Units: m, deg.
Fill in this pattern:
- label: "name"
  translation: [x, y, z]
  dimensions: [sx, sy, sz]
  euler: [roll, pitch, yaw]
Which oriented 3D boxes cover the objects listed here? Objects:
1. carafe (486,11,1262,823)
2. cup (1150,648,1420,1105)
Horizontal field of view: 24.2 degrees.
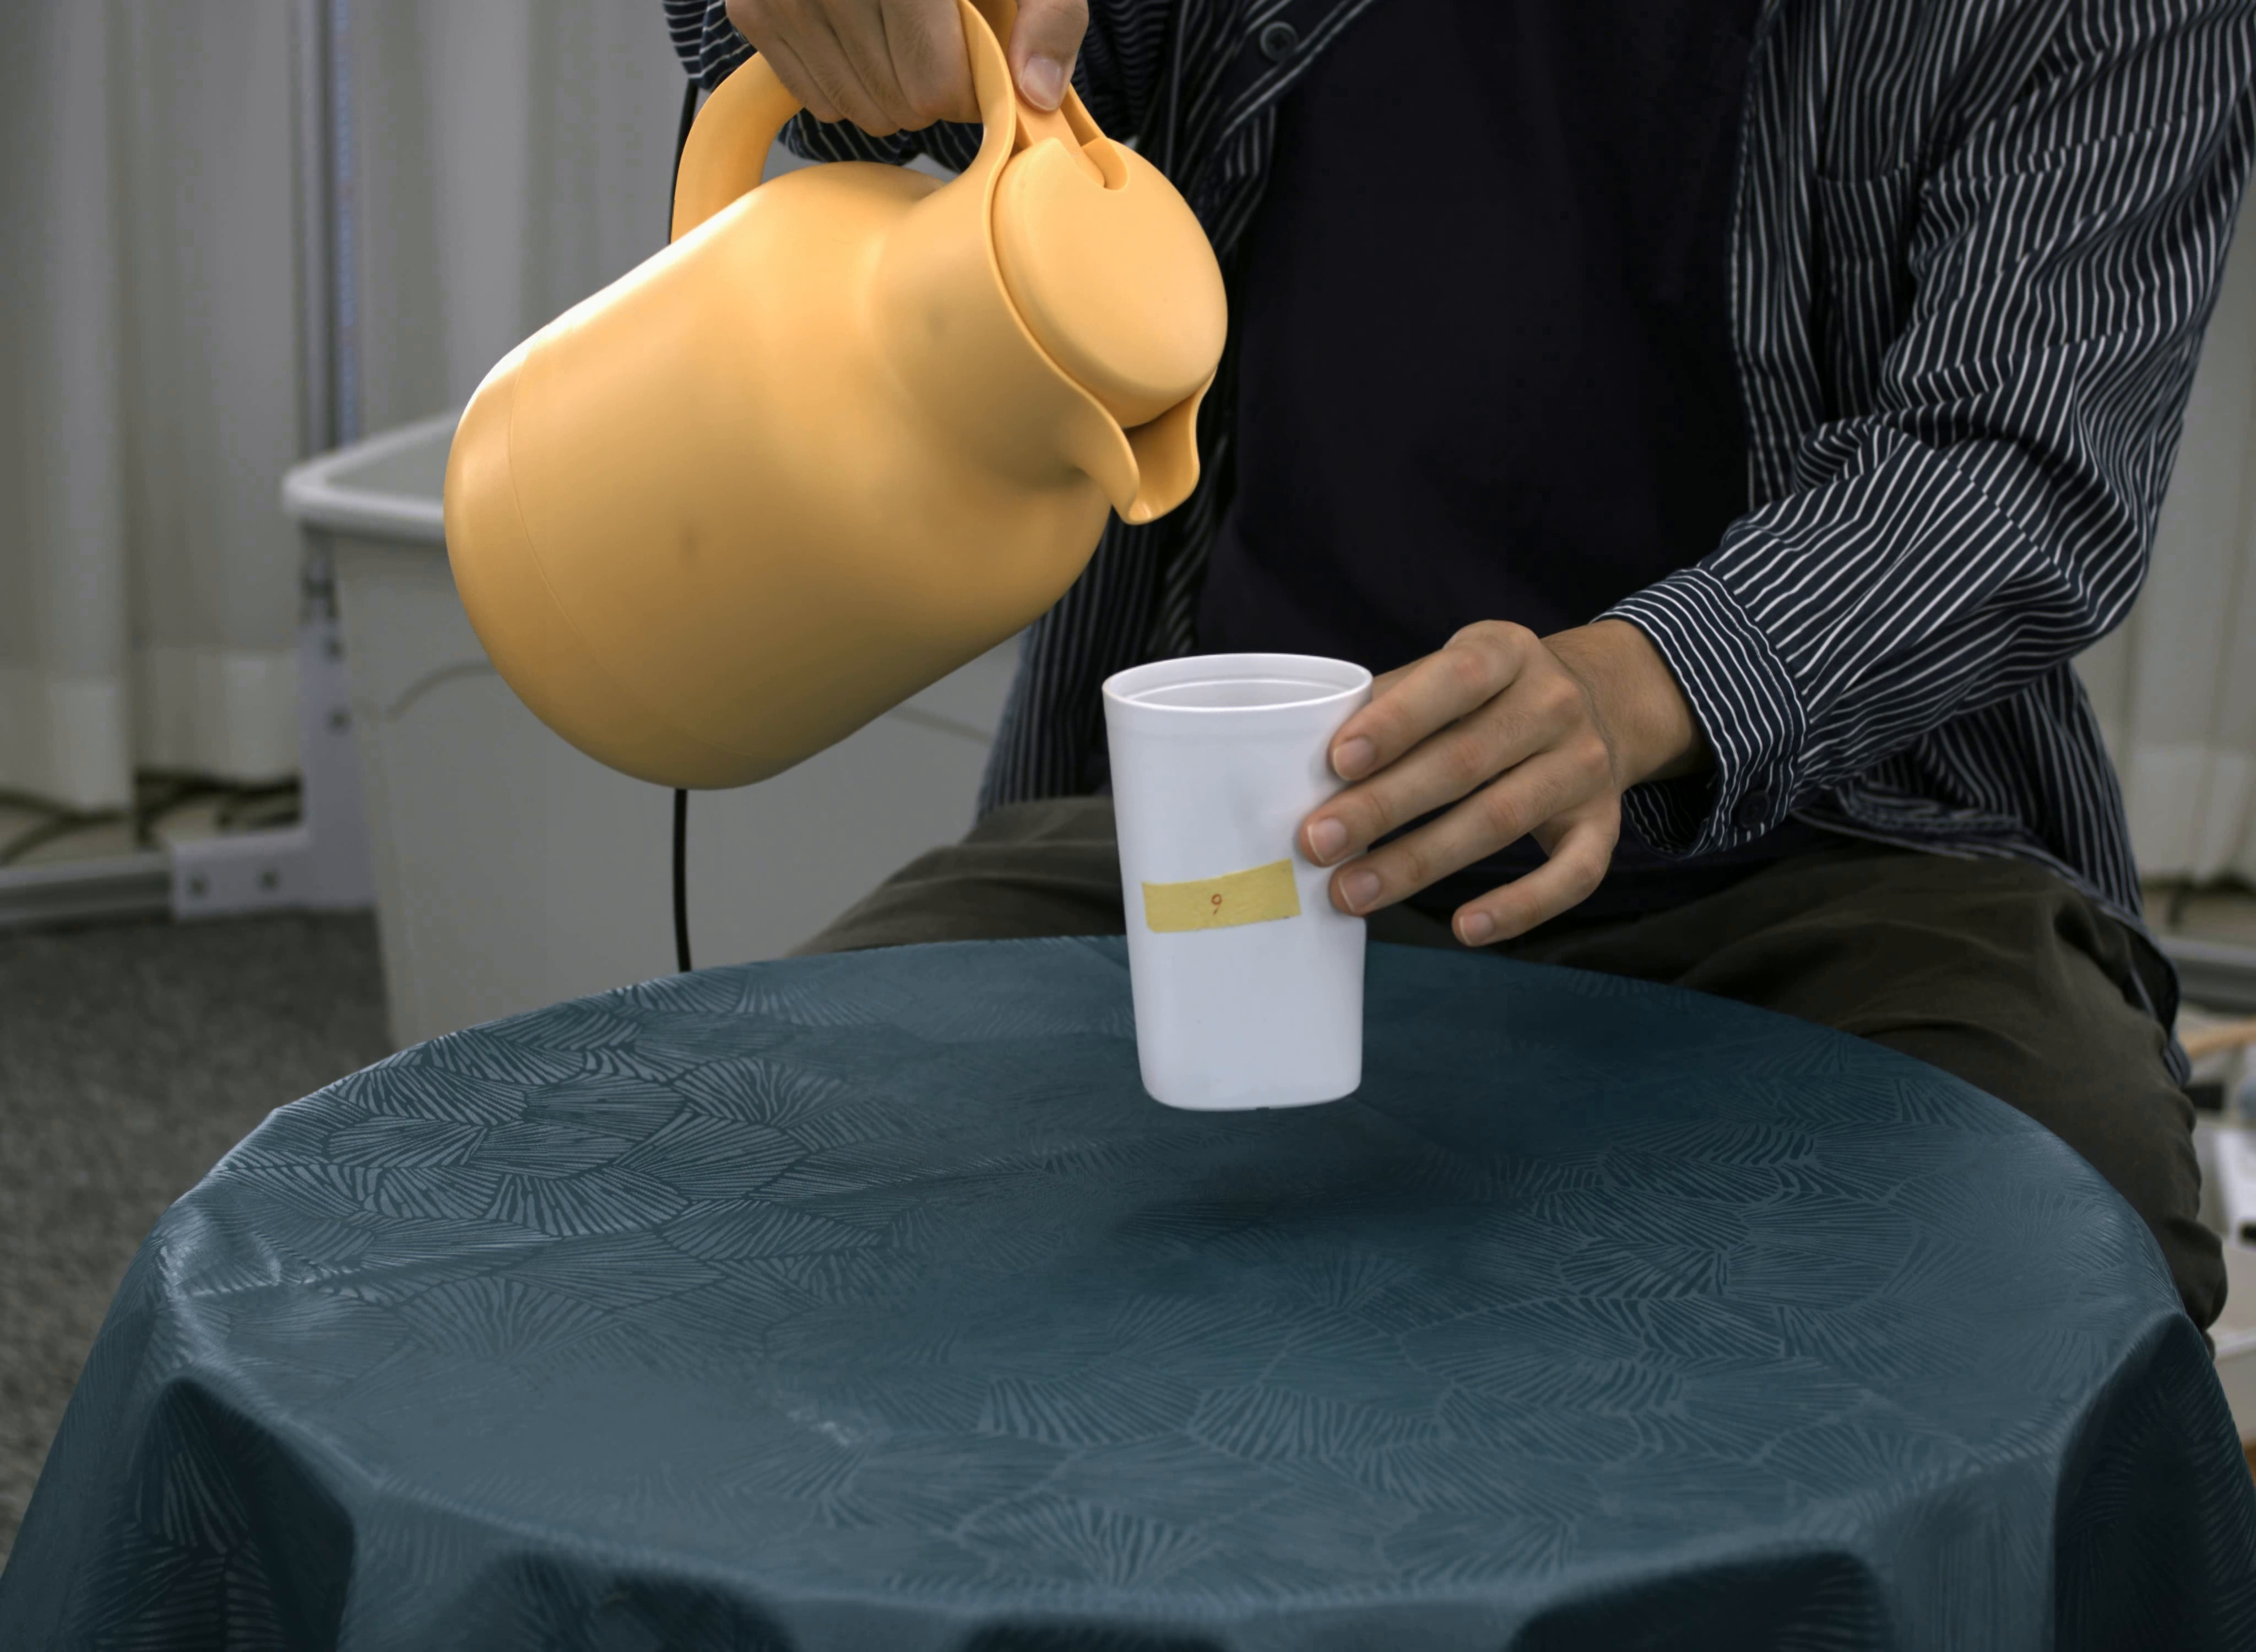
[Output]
- label: "carafe"
  translation: [-0.079, -0.132, 1.653]
  dimensions: [0.259, 0.202, 0.164]
  euler: [-28, -14, 39]
- label: "cup"
  translation: [0.049, 0.015, 1.582]
  dimensions: [0.081, 0.126, 0.081]
  euler: [-2, 12, 1]
